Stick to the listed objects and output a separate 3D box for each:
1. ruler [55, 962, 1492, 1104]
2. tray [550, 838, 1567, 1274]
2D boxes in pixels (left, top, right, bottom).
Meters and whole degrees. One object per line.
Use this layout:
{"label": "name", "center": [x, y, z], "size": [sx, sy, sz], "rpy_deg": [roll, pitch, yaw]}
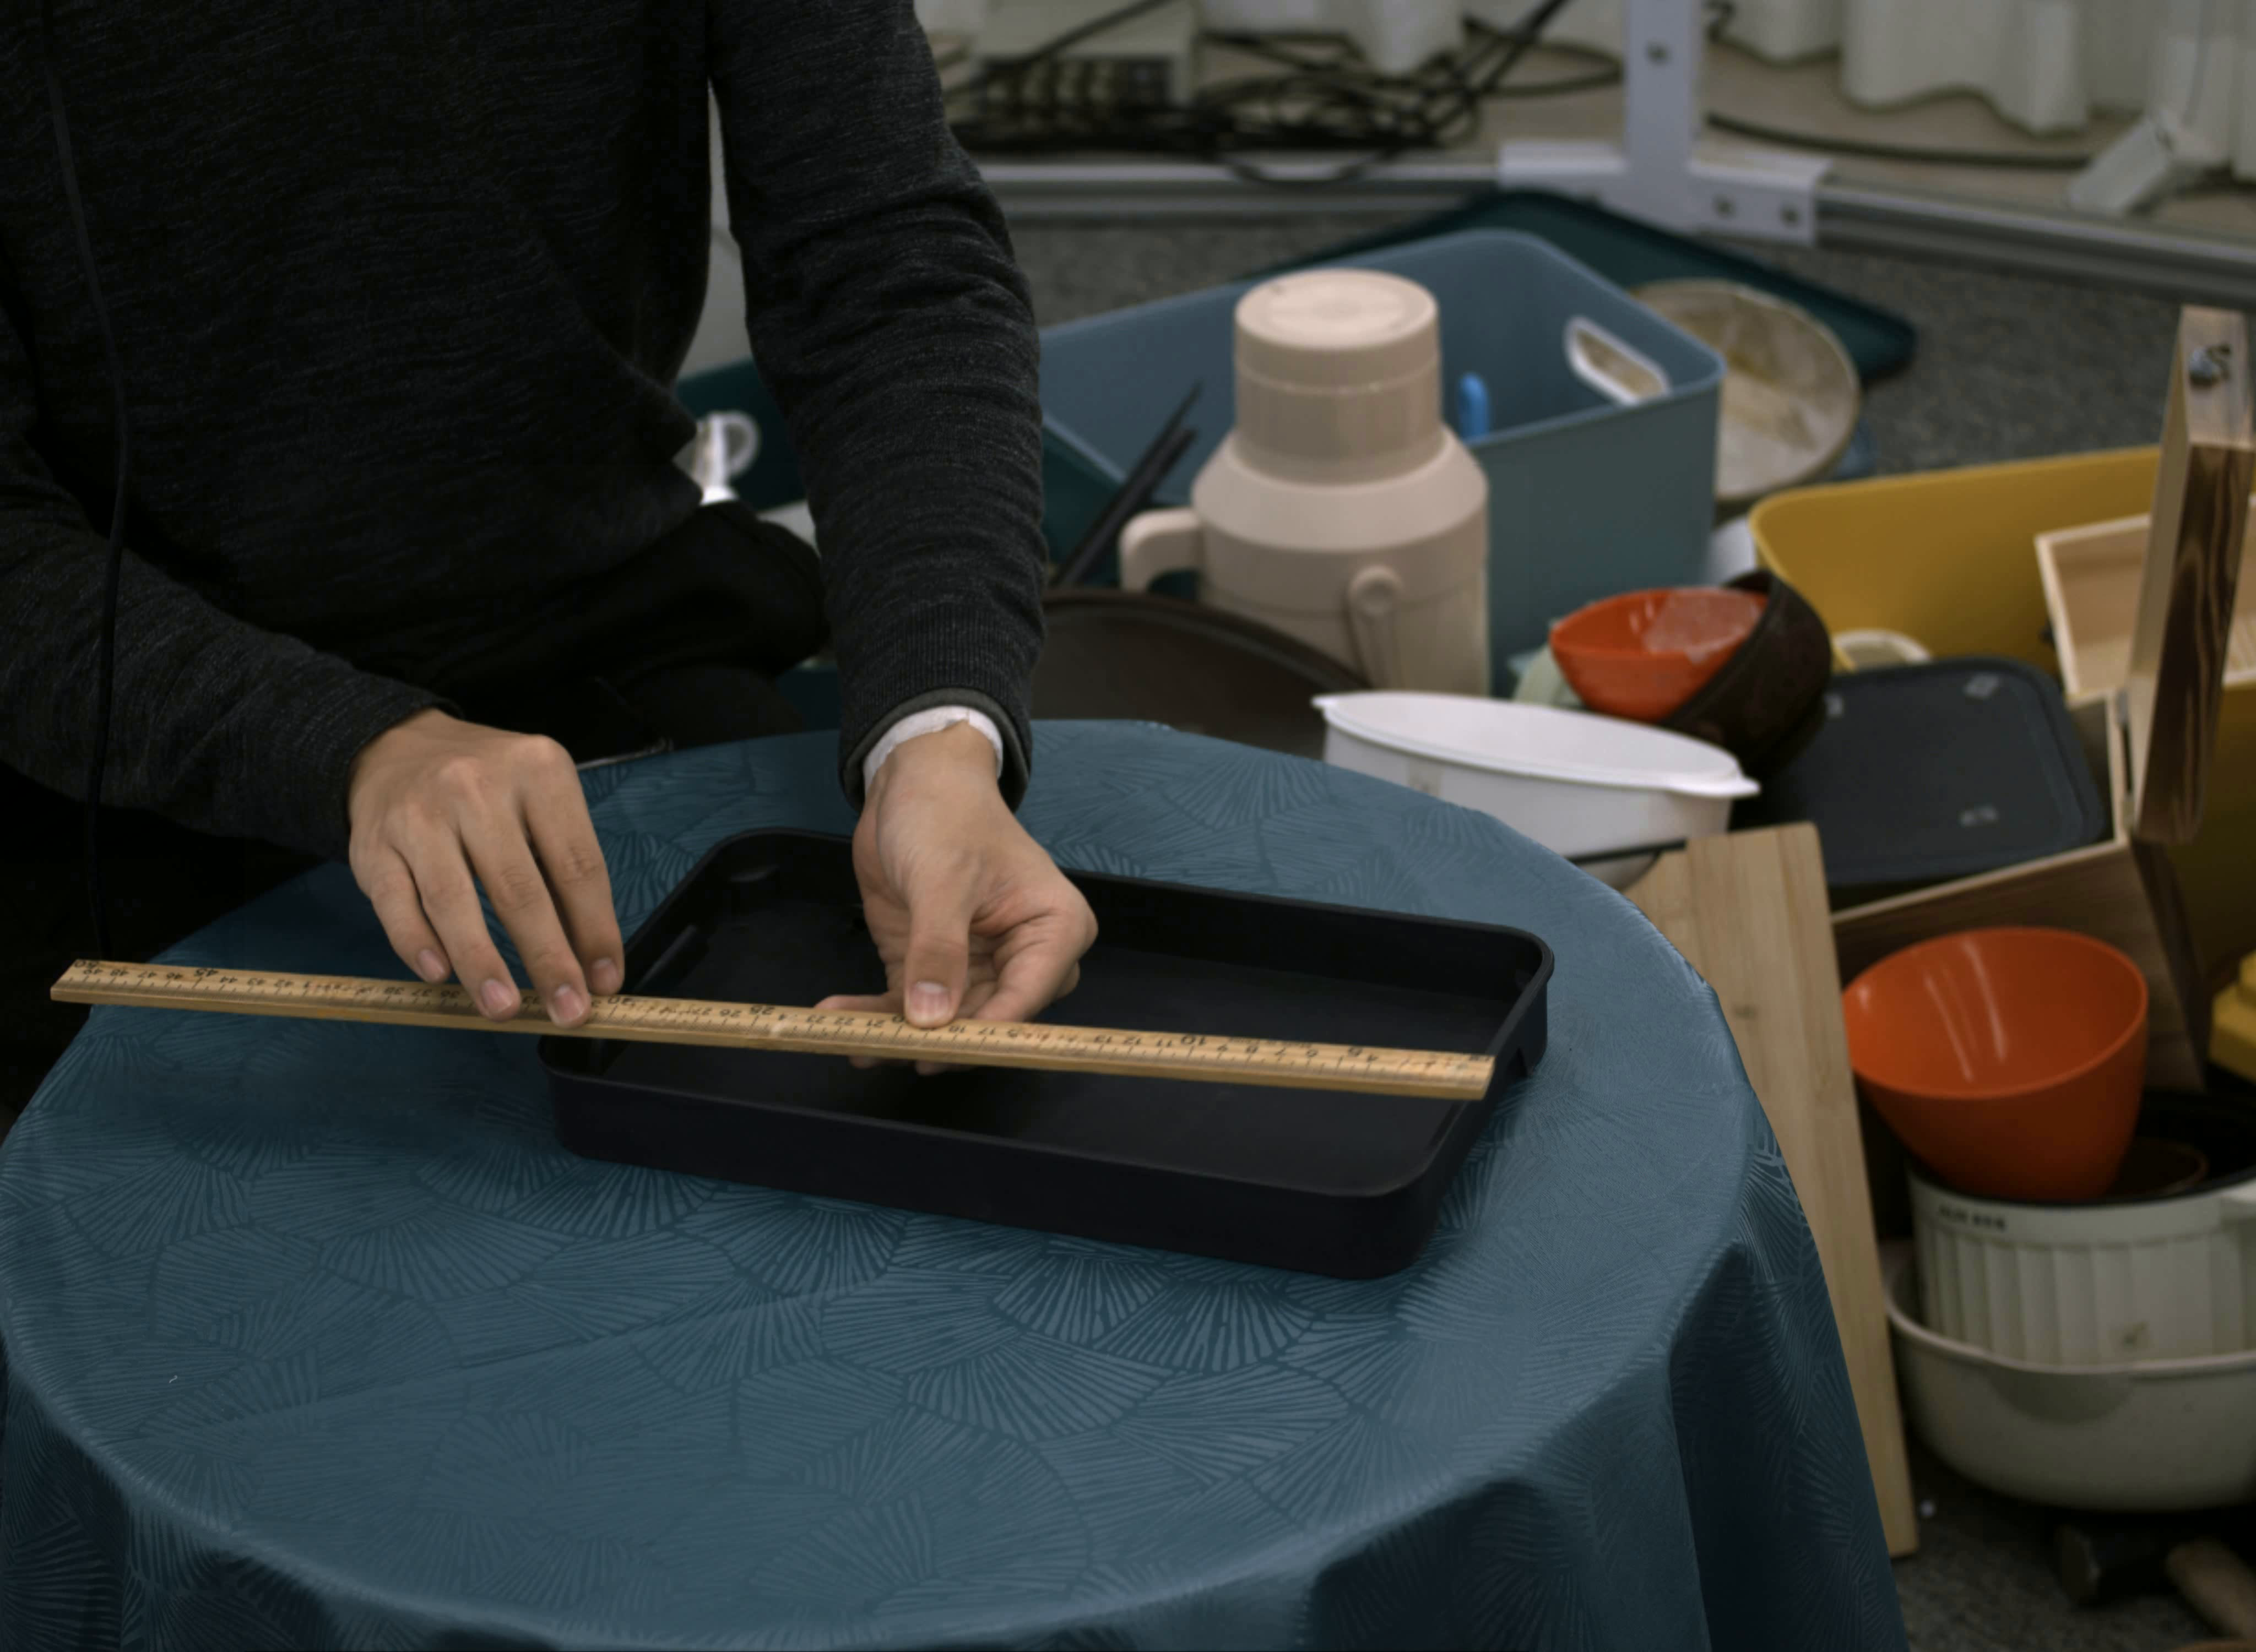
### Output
{"label": "ruler", "center": [-0.125, 0.068, 1.878], "size": [0.497, 0.006, 0.027], "rpy_deg": [4, 22, 14]}
{"label": "tray", "center": [-0.022, 0.075, 1.916], "size": [0.316, 0.036, 0.187], "rpy_deg": [6, 28, 18]}
